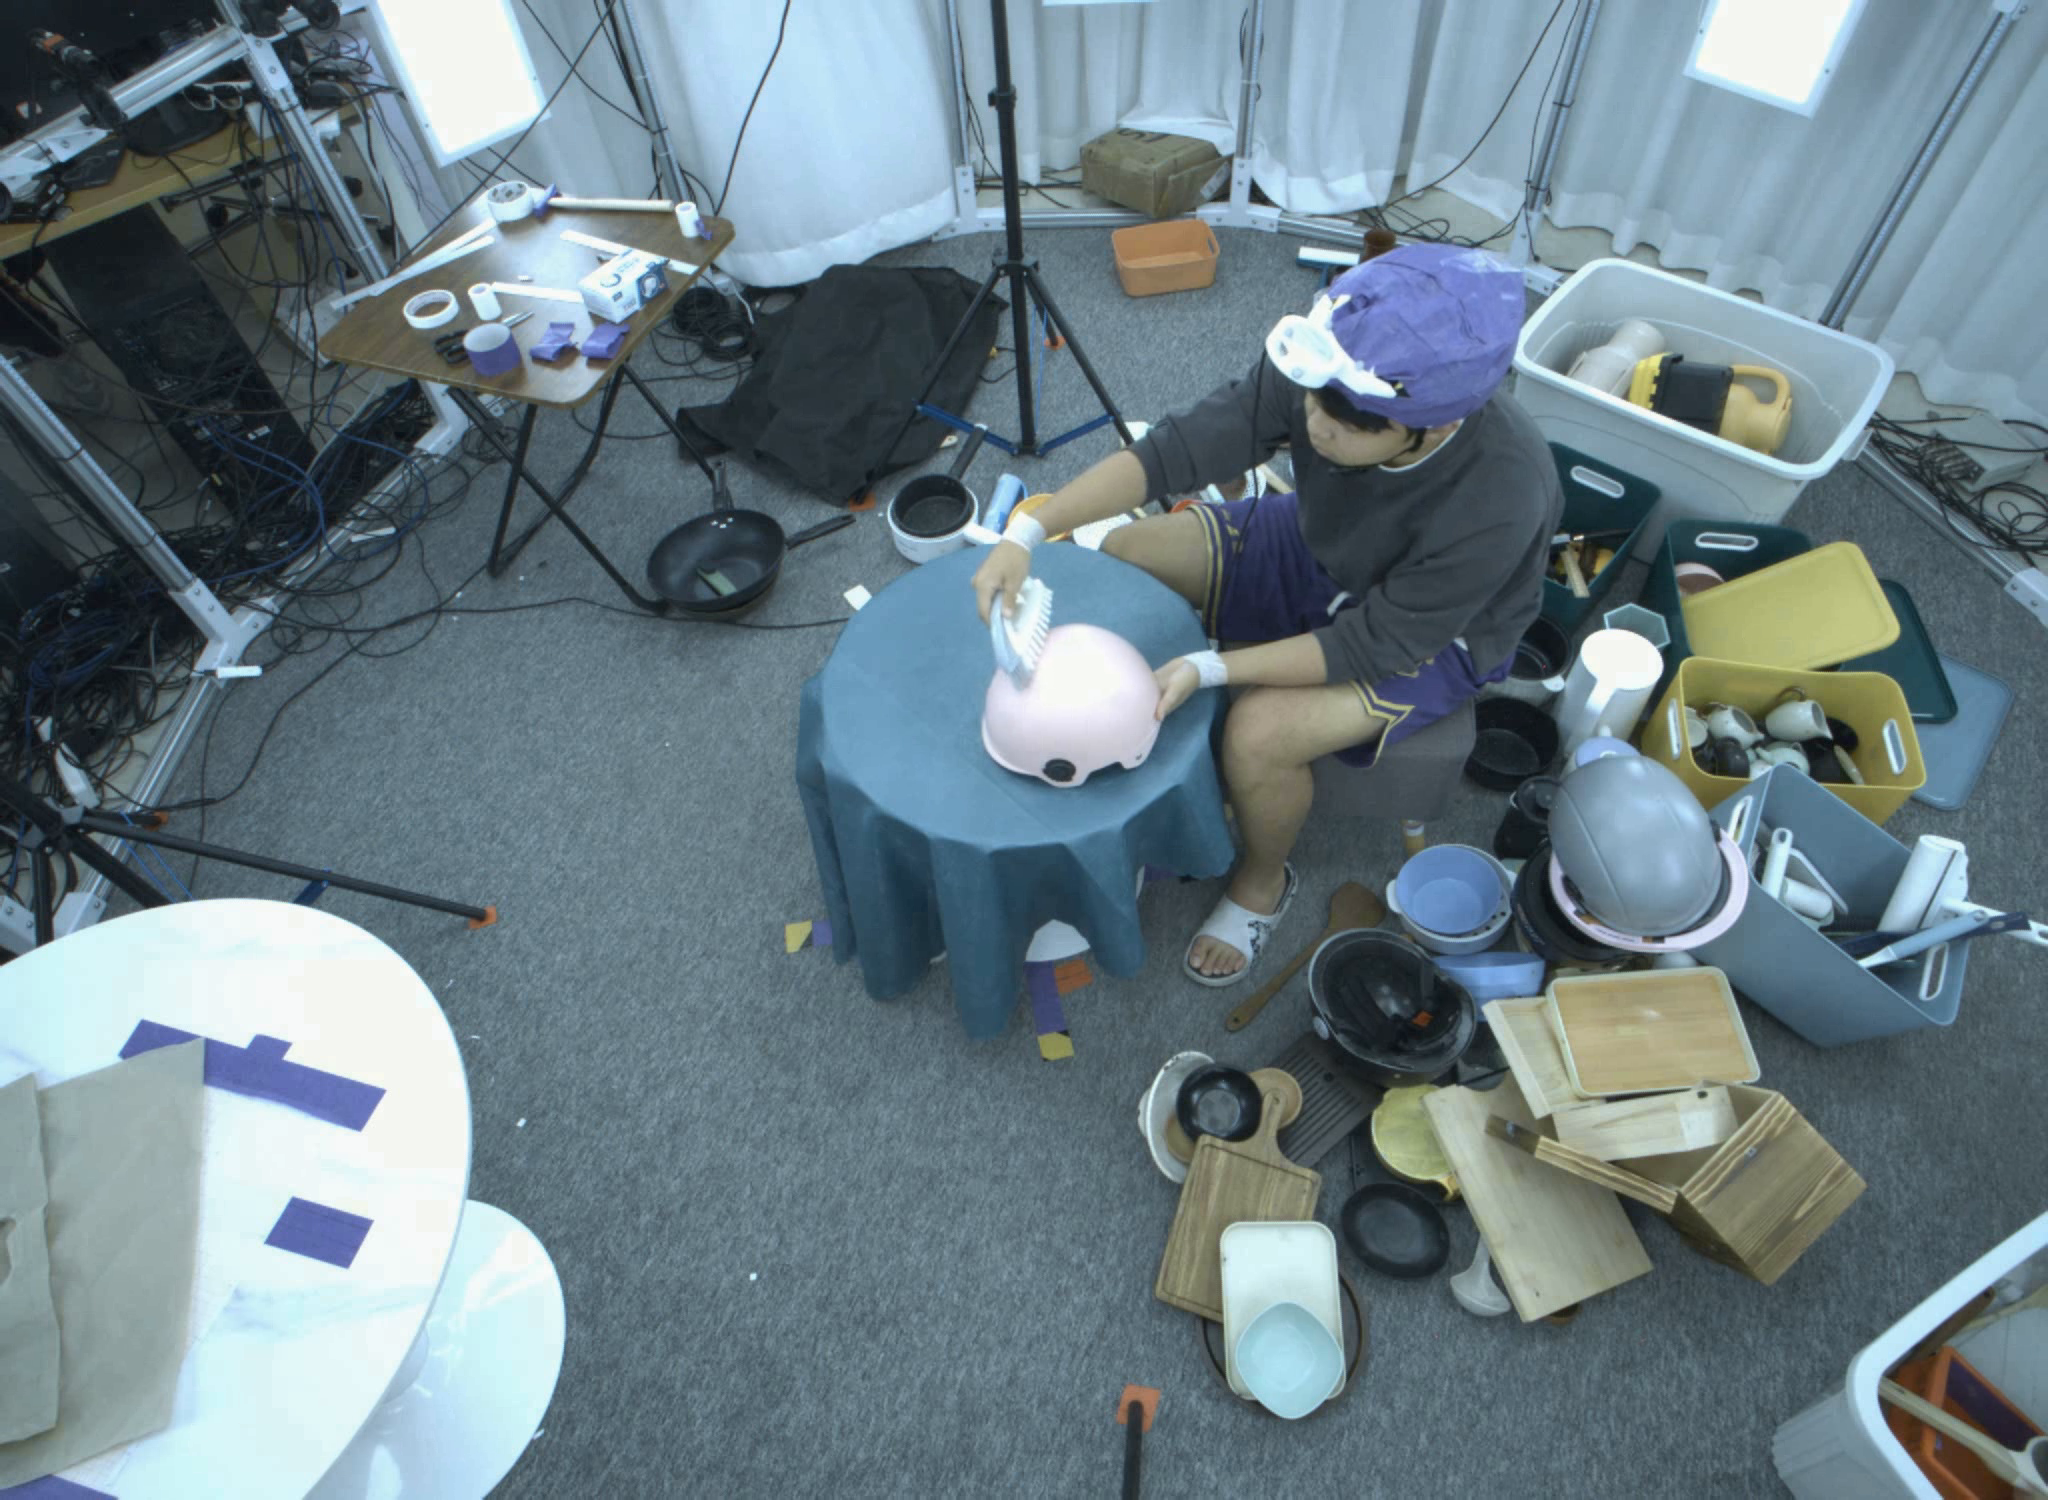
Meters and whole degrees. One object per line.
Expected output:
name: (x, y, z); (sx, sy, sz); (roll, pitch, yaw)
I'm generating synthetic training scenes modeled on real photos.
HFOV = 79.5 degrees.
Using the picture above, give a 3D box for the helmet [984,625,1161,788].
helmet: (0.059, -0.082, 1.751); (0.265, 0.161, 0.231); (-11, 55, 4)

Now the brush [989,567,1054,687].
brush: (-0.012, -0.178, 1.694); (0.060, 0.096, 0.174); (-16, 50, 35)
